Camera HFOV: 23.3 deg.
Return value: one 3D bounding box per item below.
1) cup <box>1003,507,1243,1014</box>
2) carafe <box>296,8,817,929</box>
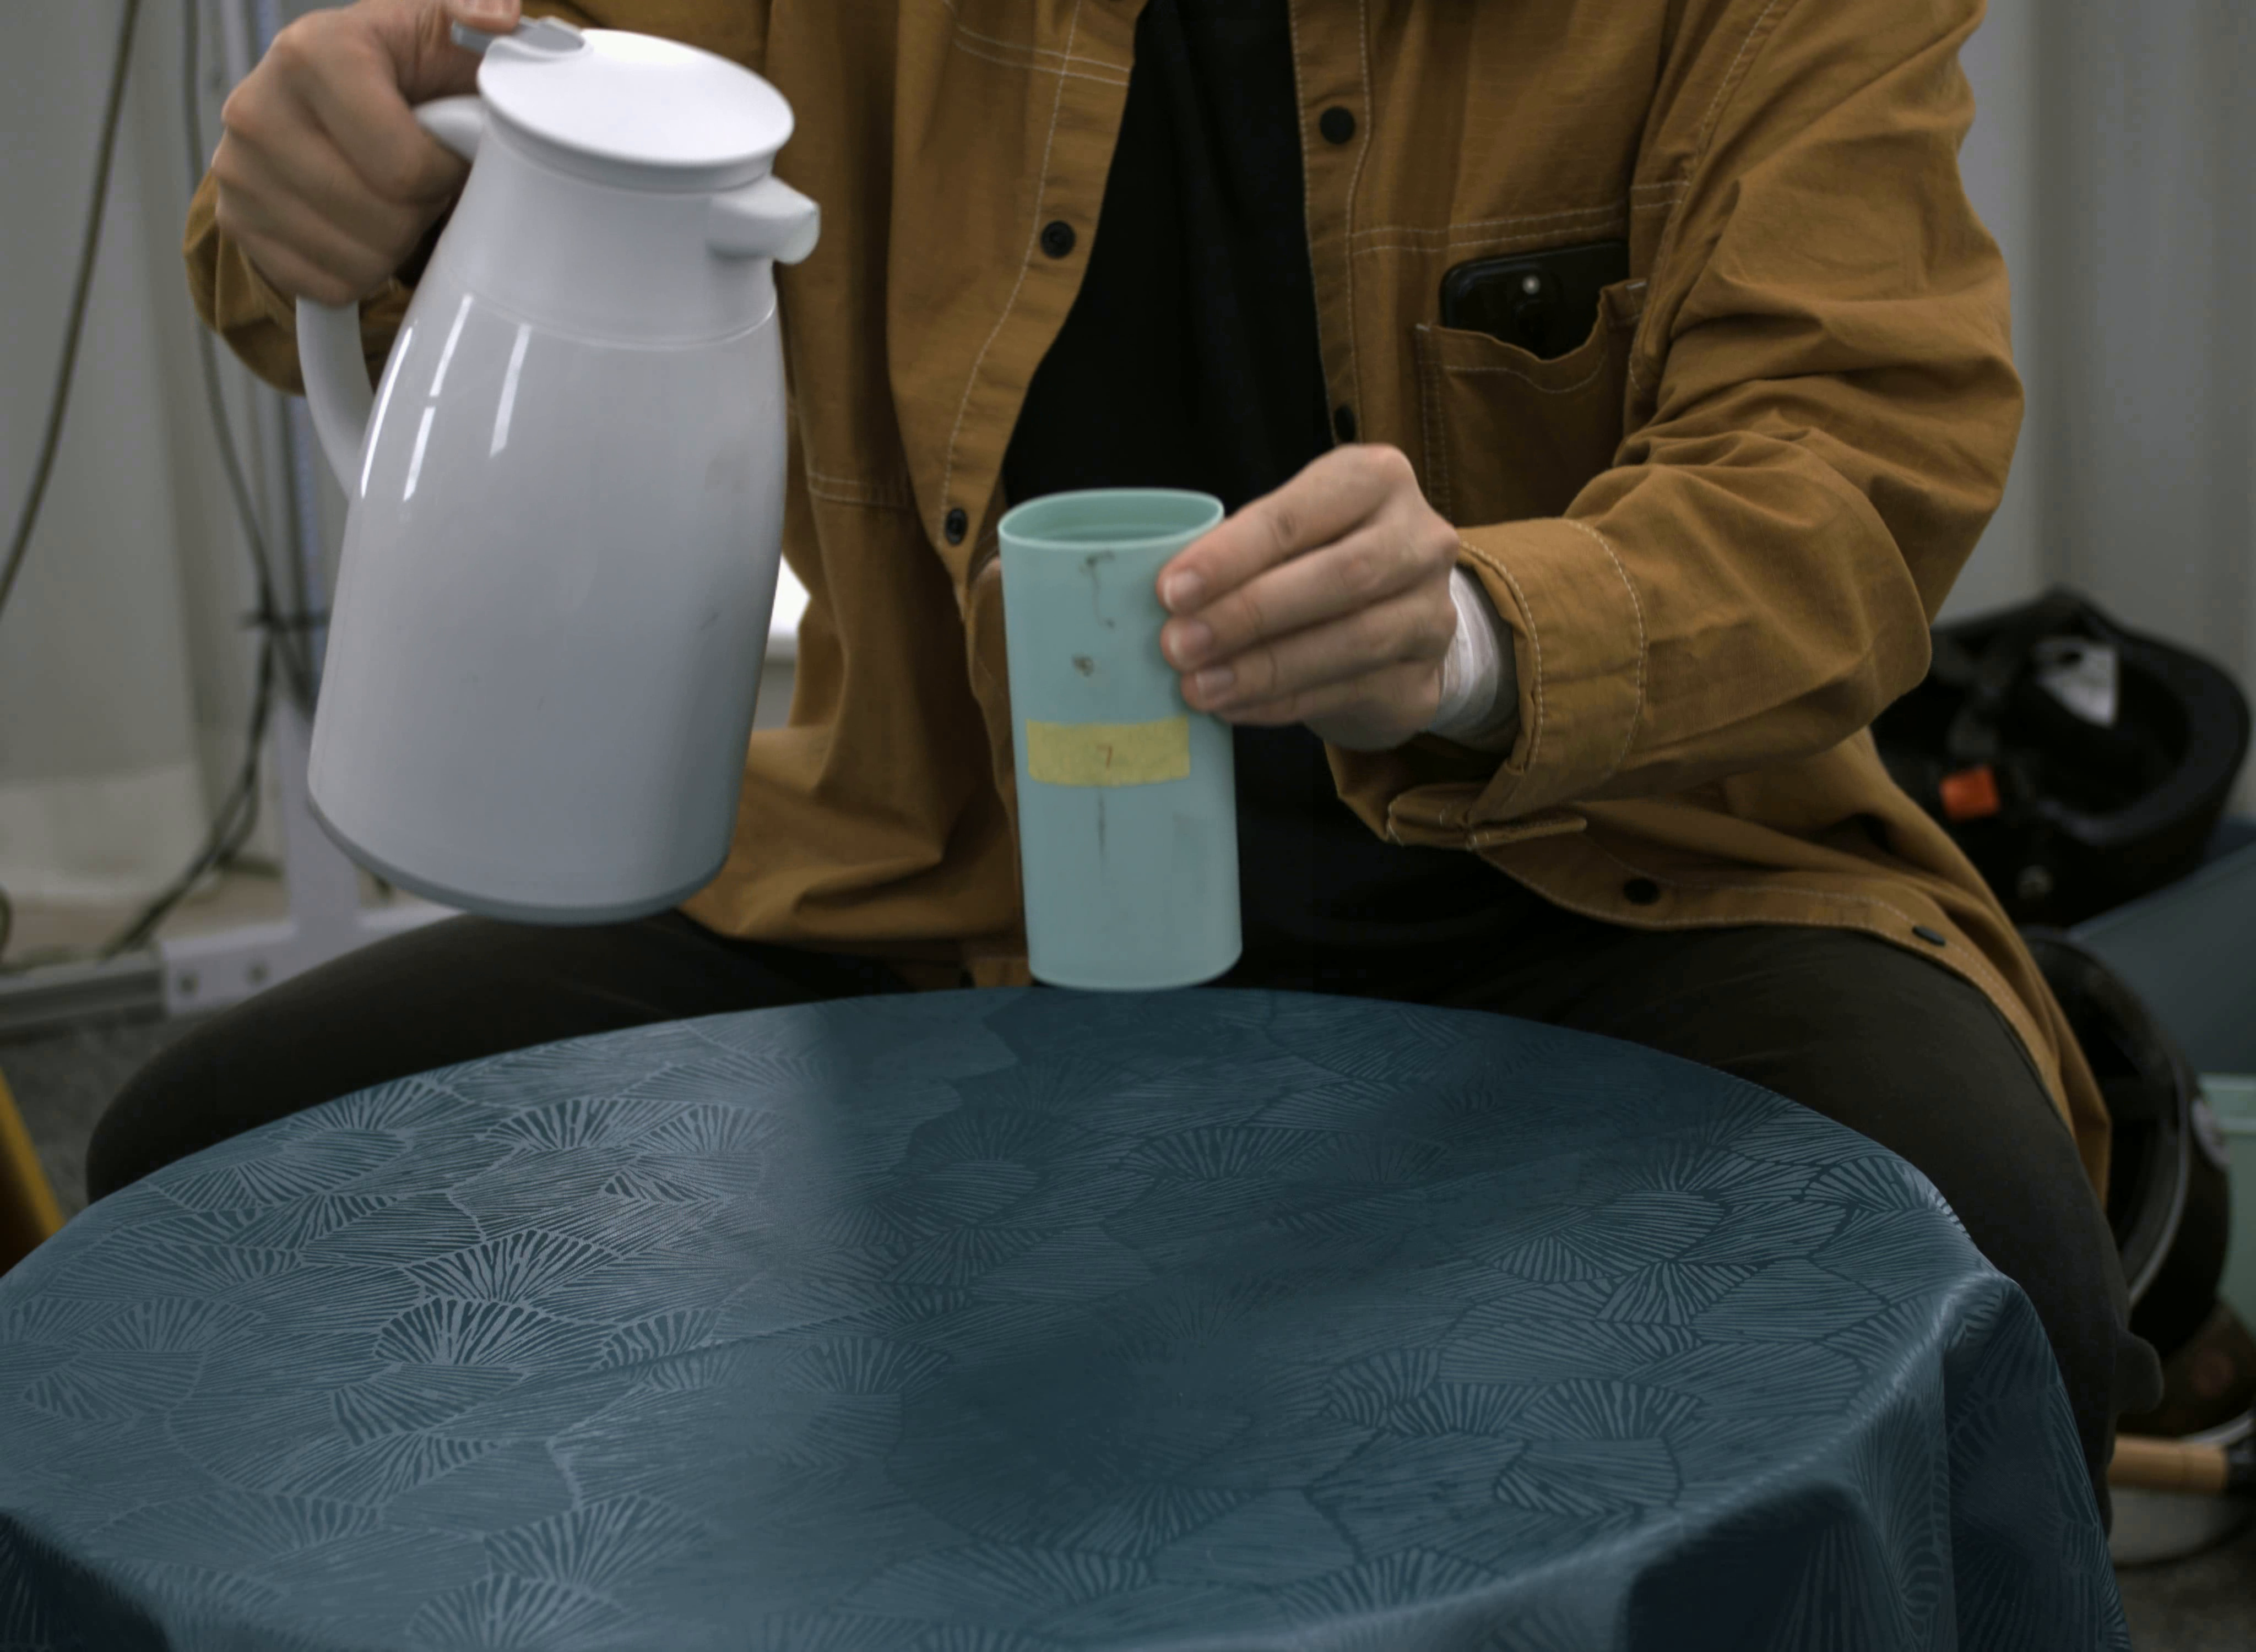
[{"bbox_3d":[0.000,-0.020,1.549,0.066,0.132,0.067,-2,16,0],"label":"cup"},{"bbox_3d":[-0.180,-0.115,1.631,0.168,0.246,0.133,24,30,23],"label":"carafe"}]
